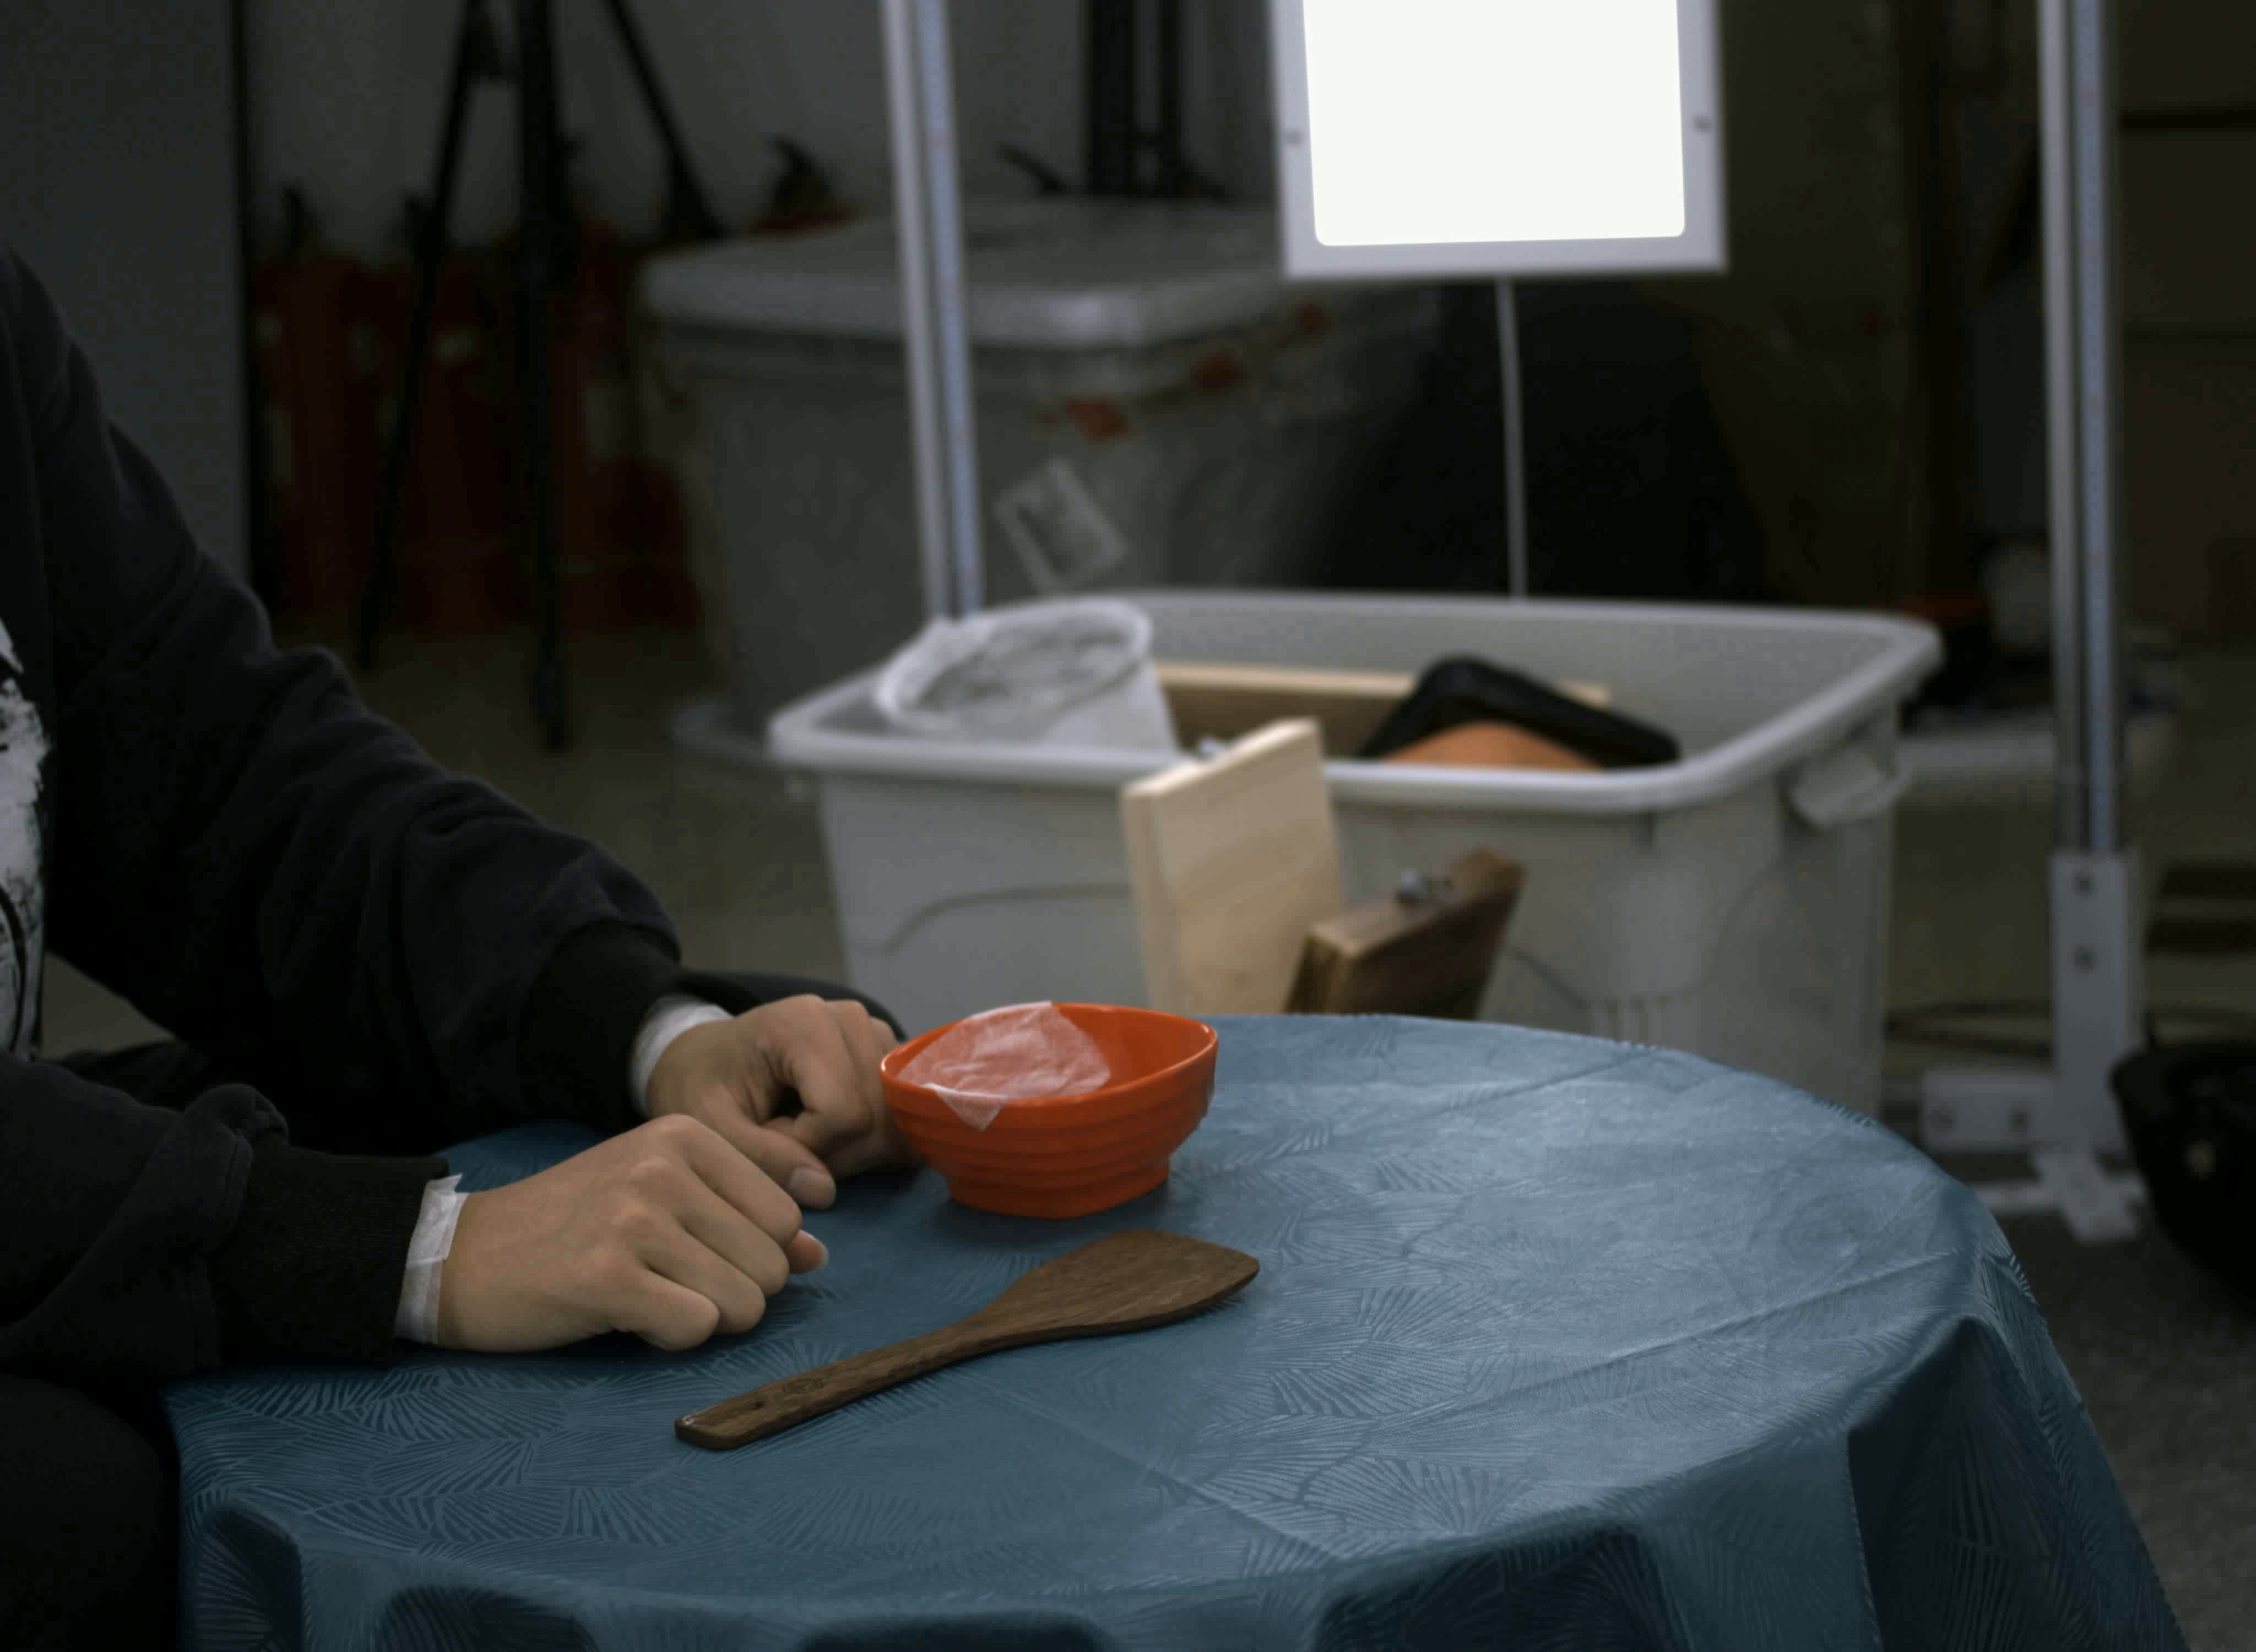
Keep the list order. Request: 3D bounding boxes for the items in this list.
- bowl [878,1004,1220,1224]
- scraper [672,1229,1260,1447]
[{"bbox_3d":[-0.026,0.102,1.906,0.118,0.051,0.119,-4,15,0],"label":"bowl"},{"bbox_3d":[-0.054,0.164,1.748,0.206,0.011,0.077,-16,17,-36],"label":"scraper"}]
